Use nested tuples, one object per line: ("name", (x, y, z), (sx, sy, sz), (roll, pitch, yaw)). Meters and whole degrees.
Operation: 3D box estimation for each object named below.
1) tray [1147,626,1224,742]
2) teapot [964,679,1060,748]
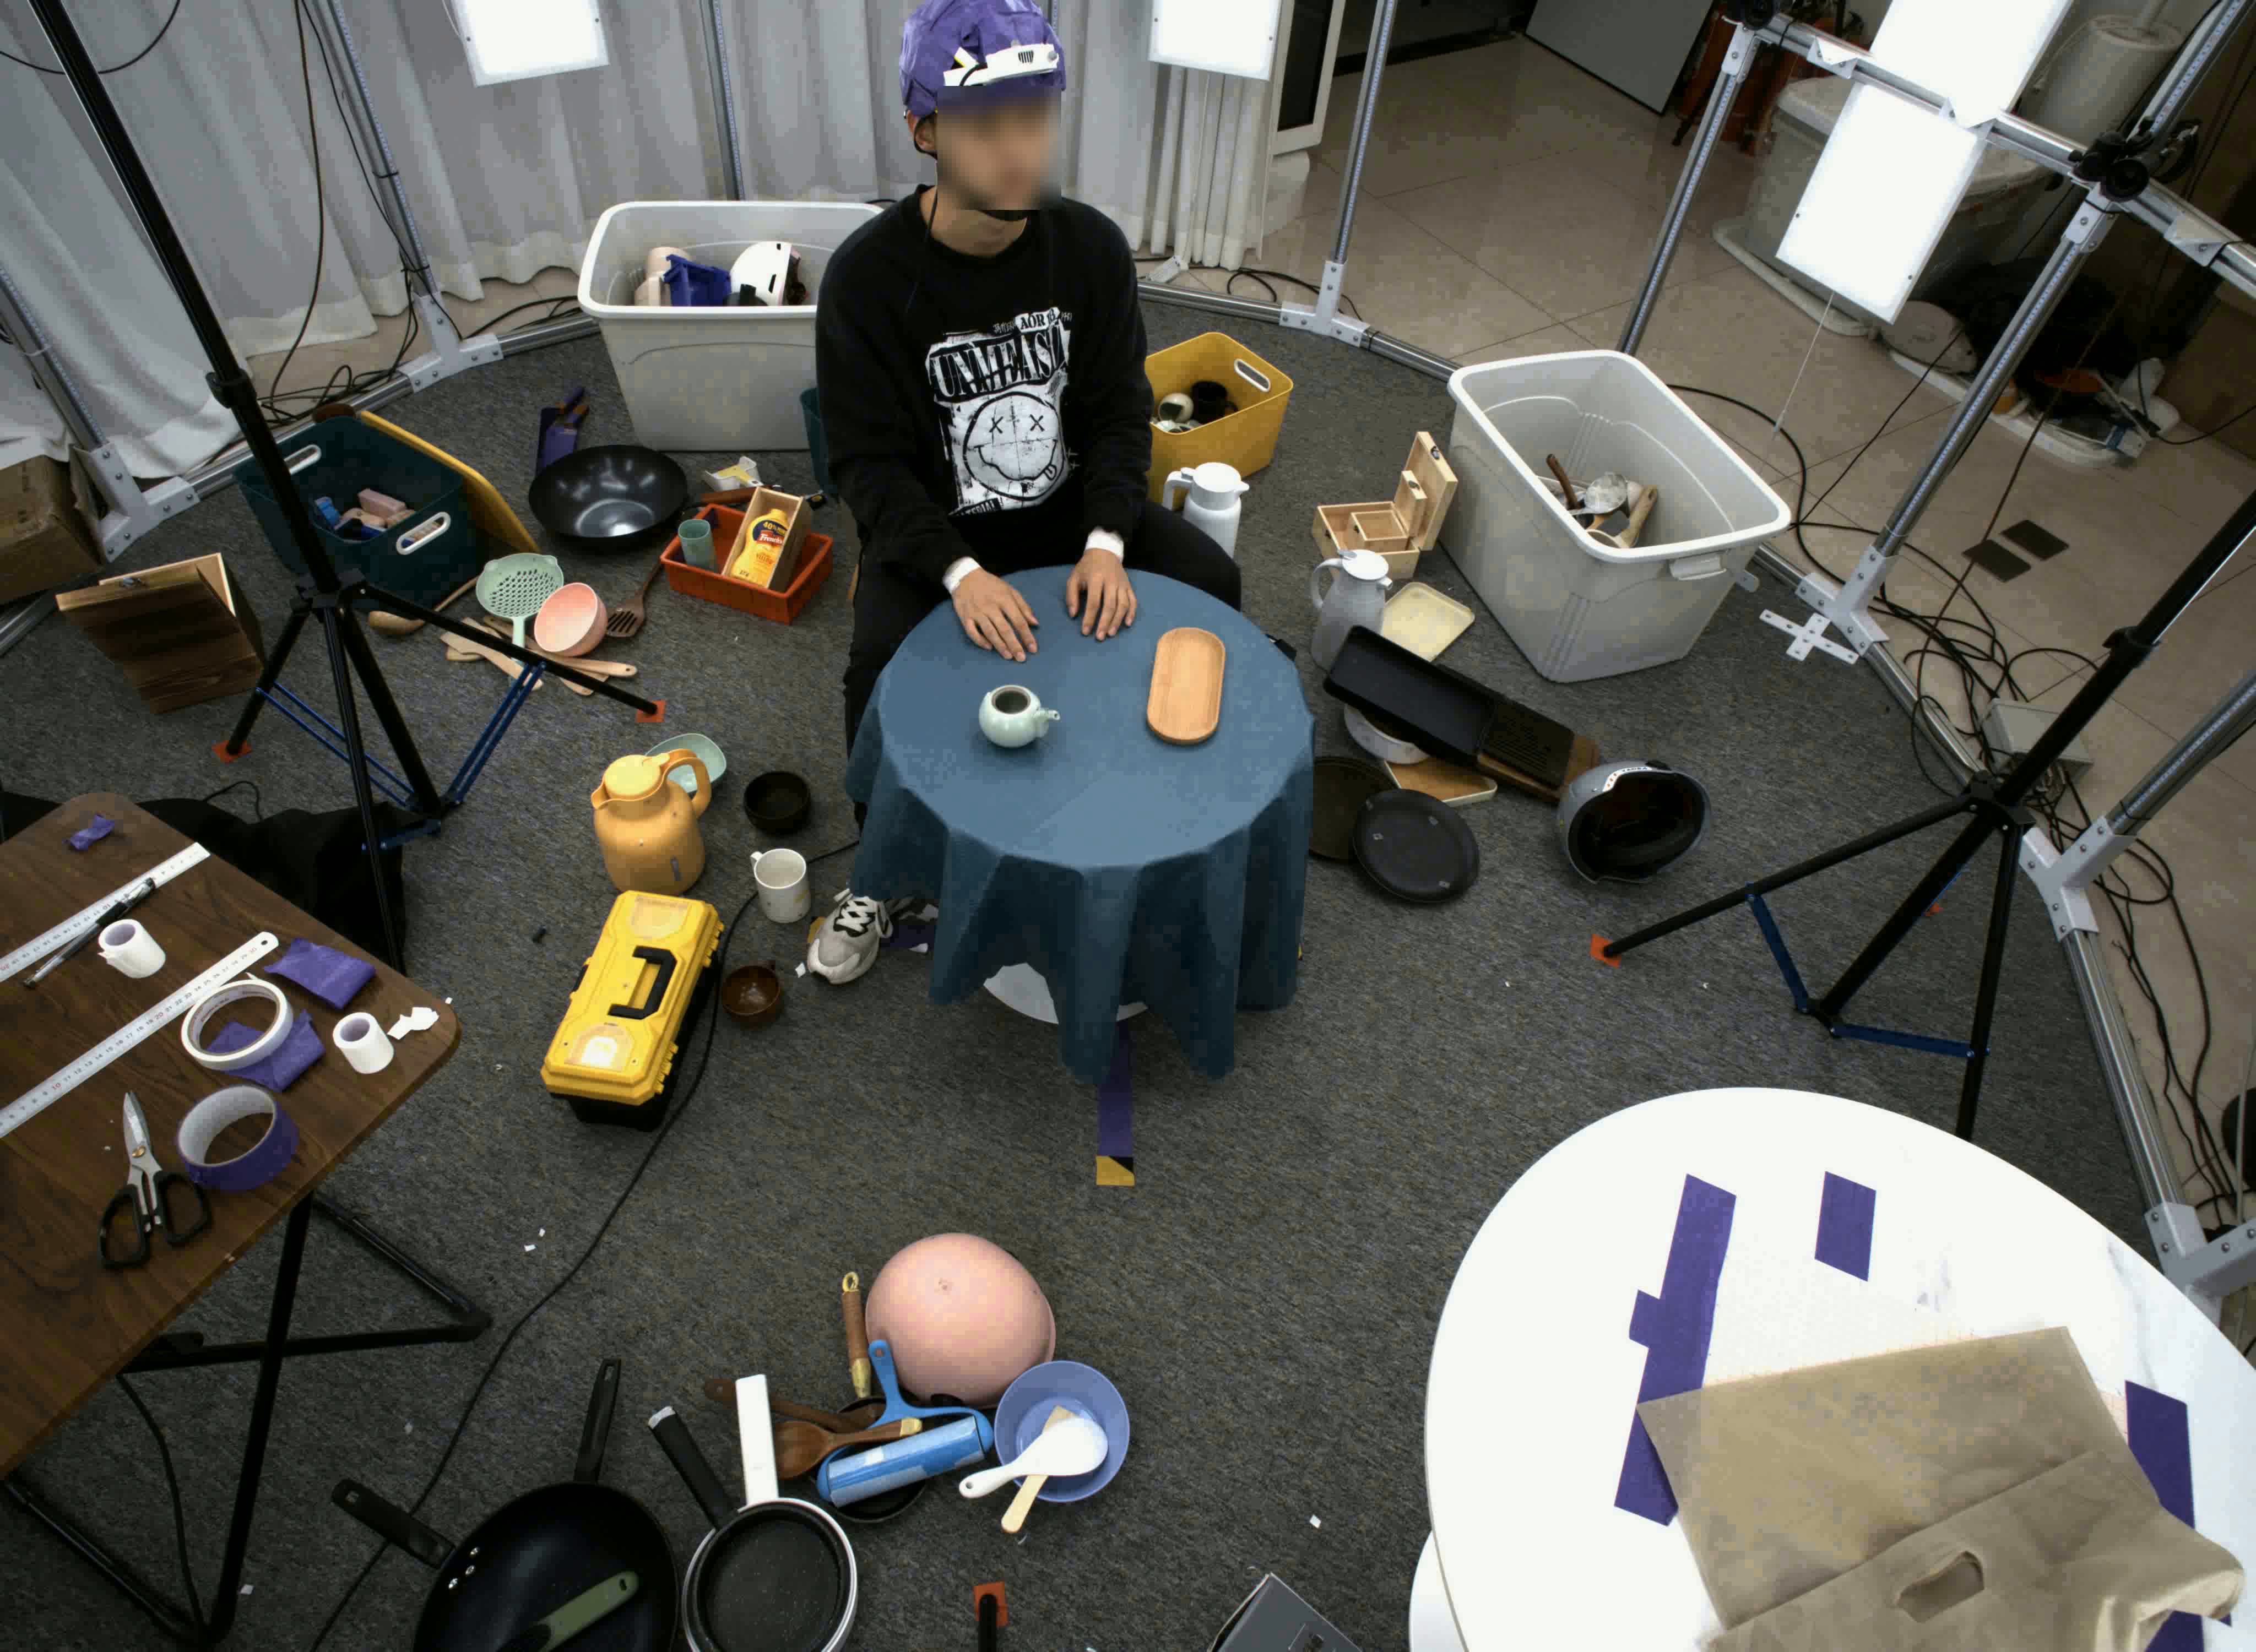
("tray", (0.084, -0.206, 1.843), (0.101, 0.020, 0.237), (8, 48, 1))
("teapot", (-0.158, -0.150, 1.743), (0.145, 0.073, 0.090), (24, 51, 15))
